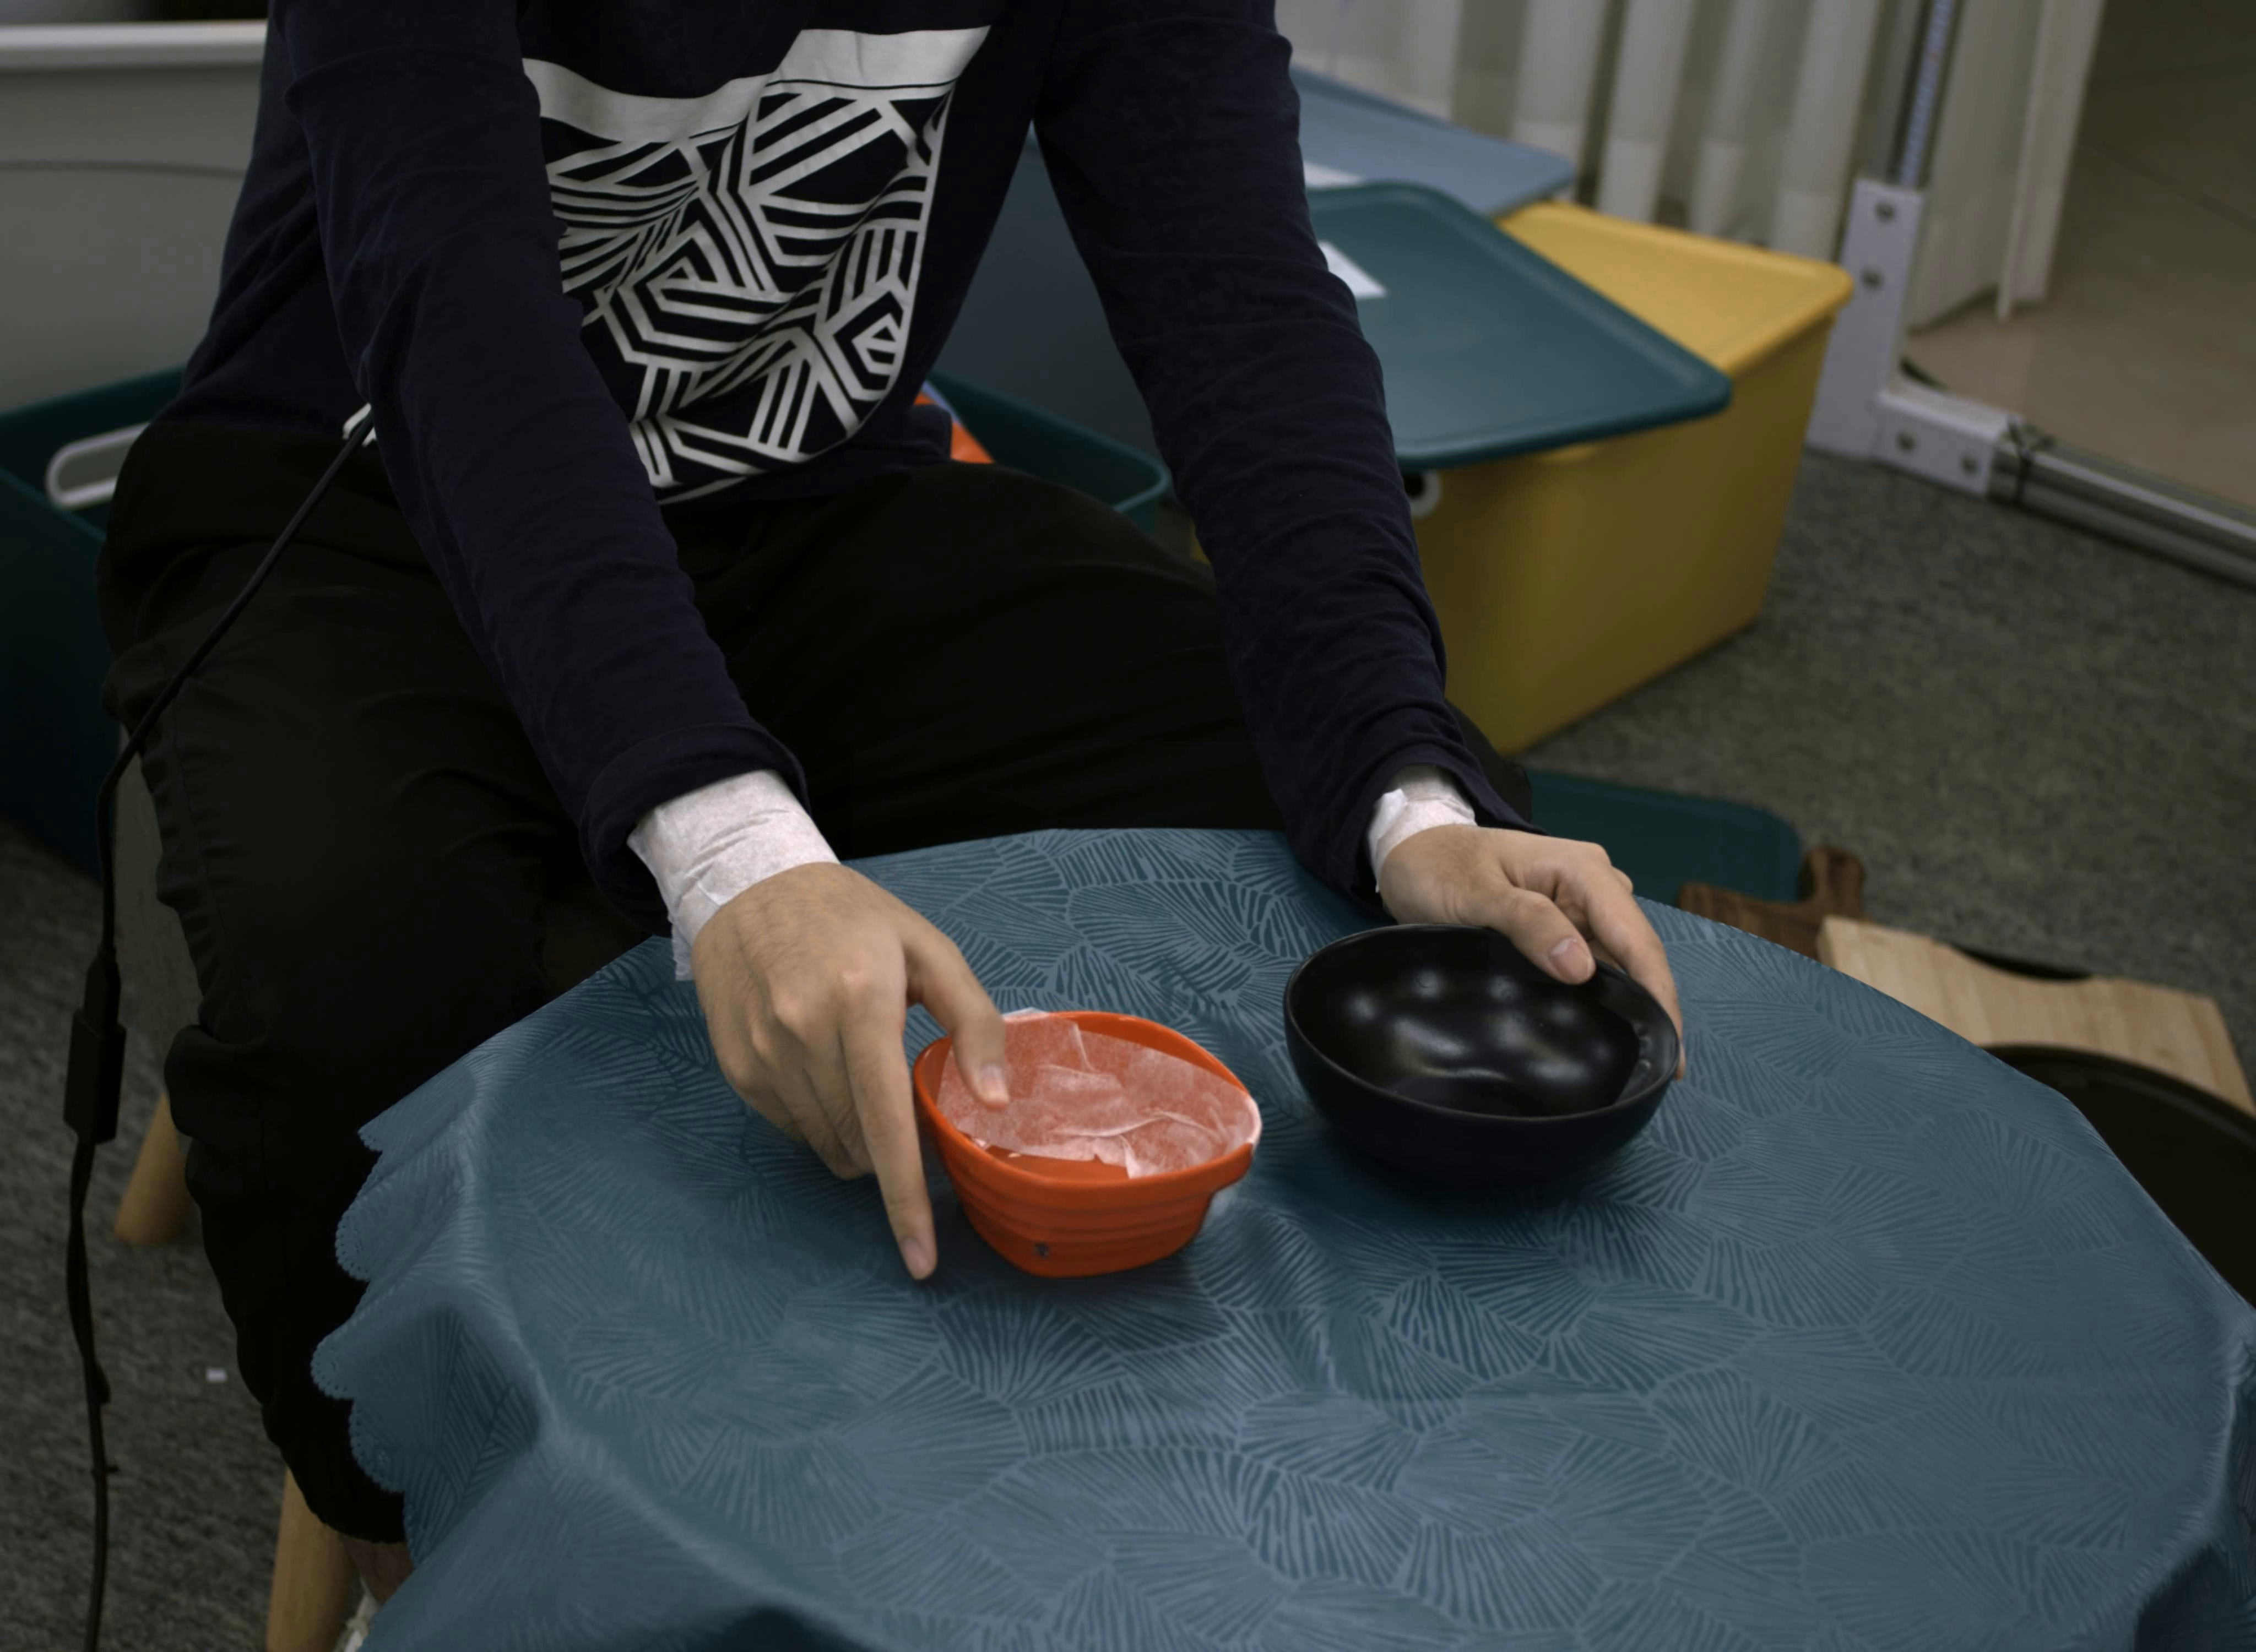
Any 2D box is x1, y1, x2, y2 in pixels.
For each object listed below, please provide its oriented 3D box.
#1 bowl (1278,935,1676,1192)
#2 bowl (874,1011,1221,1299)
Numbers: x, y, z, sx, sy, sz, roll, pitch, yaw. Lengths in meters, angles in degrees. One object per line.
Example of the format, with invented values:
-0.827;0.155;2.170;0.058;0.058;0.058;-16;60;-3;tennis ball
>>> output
0.119;0.089;1.851;0.139;0.049;0.141;4;24;-2;bowl
-0.029;0.116;1.780;0.118;0.051;0.120;3;35;-2;bowl
